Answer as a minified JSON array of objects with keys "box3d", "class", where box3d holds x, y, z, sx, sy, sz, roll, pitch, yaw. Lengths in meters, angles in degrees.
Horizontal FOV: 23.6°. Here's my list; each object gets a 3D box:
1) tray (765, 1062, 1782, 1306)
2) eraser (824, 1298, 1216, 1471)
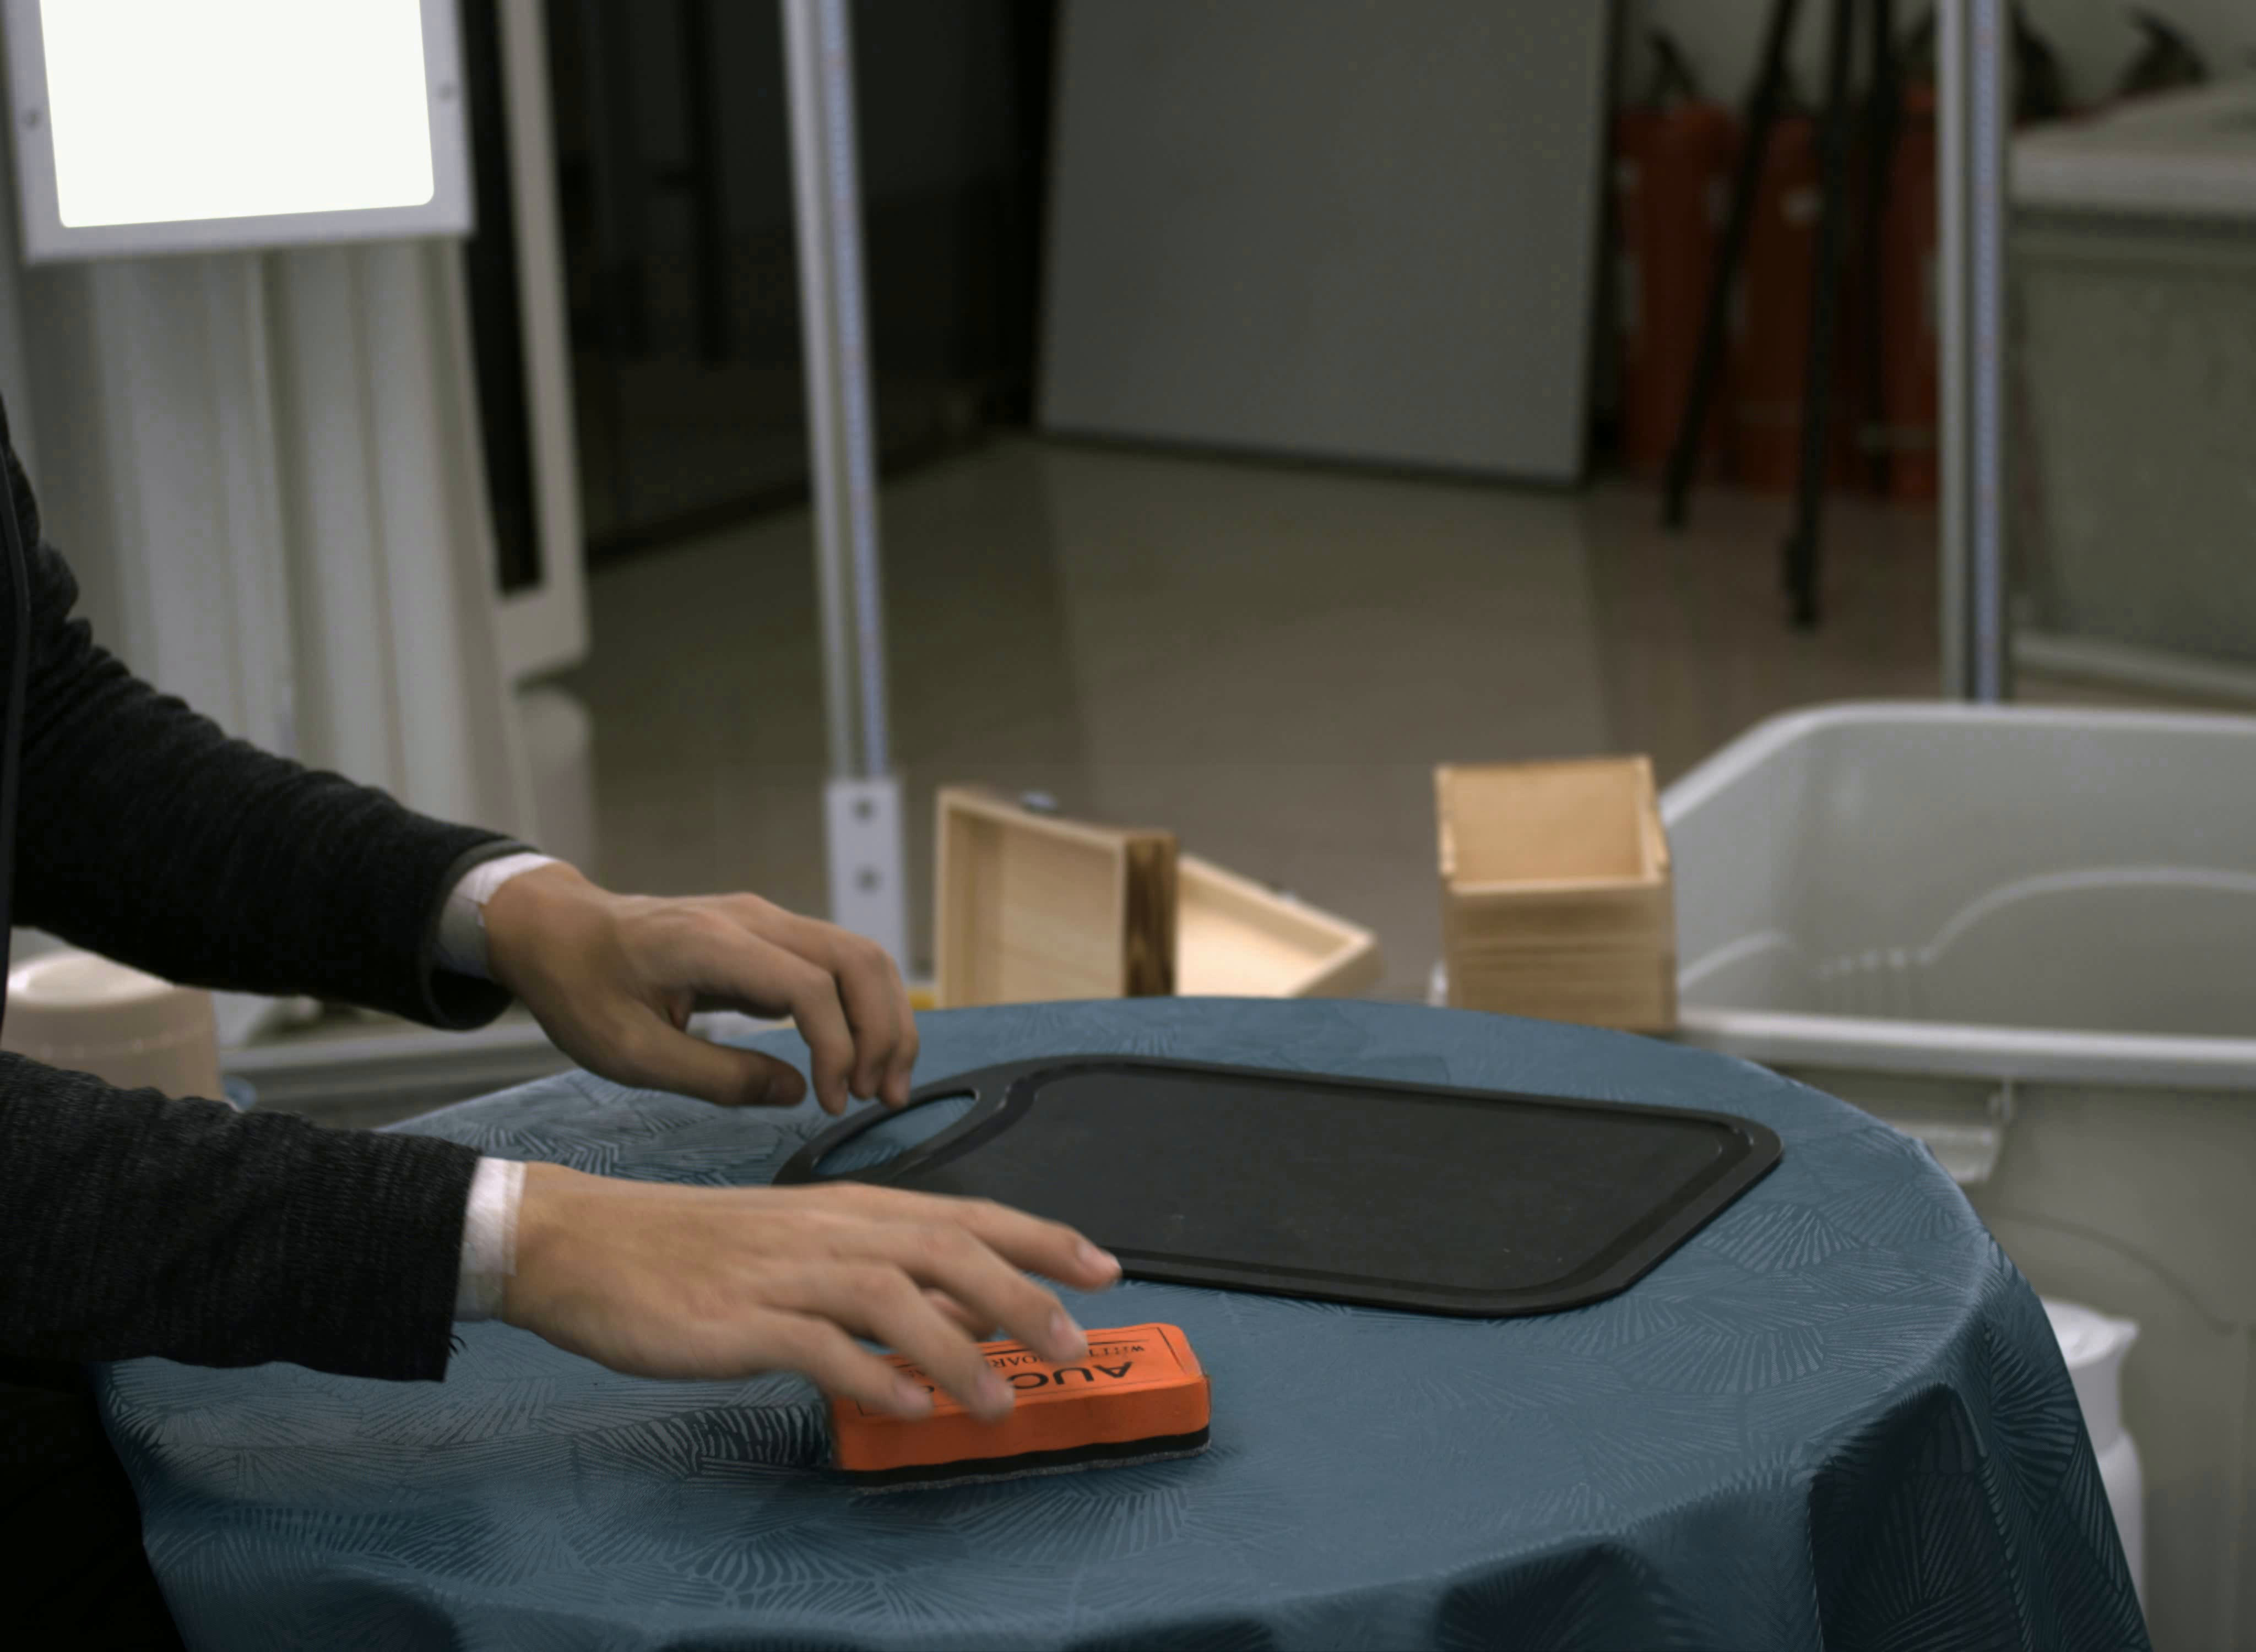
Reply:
[{"box3d":[0.040,0.114,1.774,0.326,0.010,0.208,4,15,30],"class":"tray"},{"box3d":[-0.031,0.159,1.544,0.106,0.023,0.059,-7,13,-9],"class":"eraser"}]
